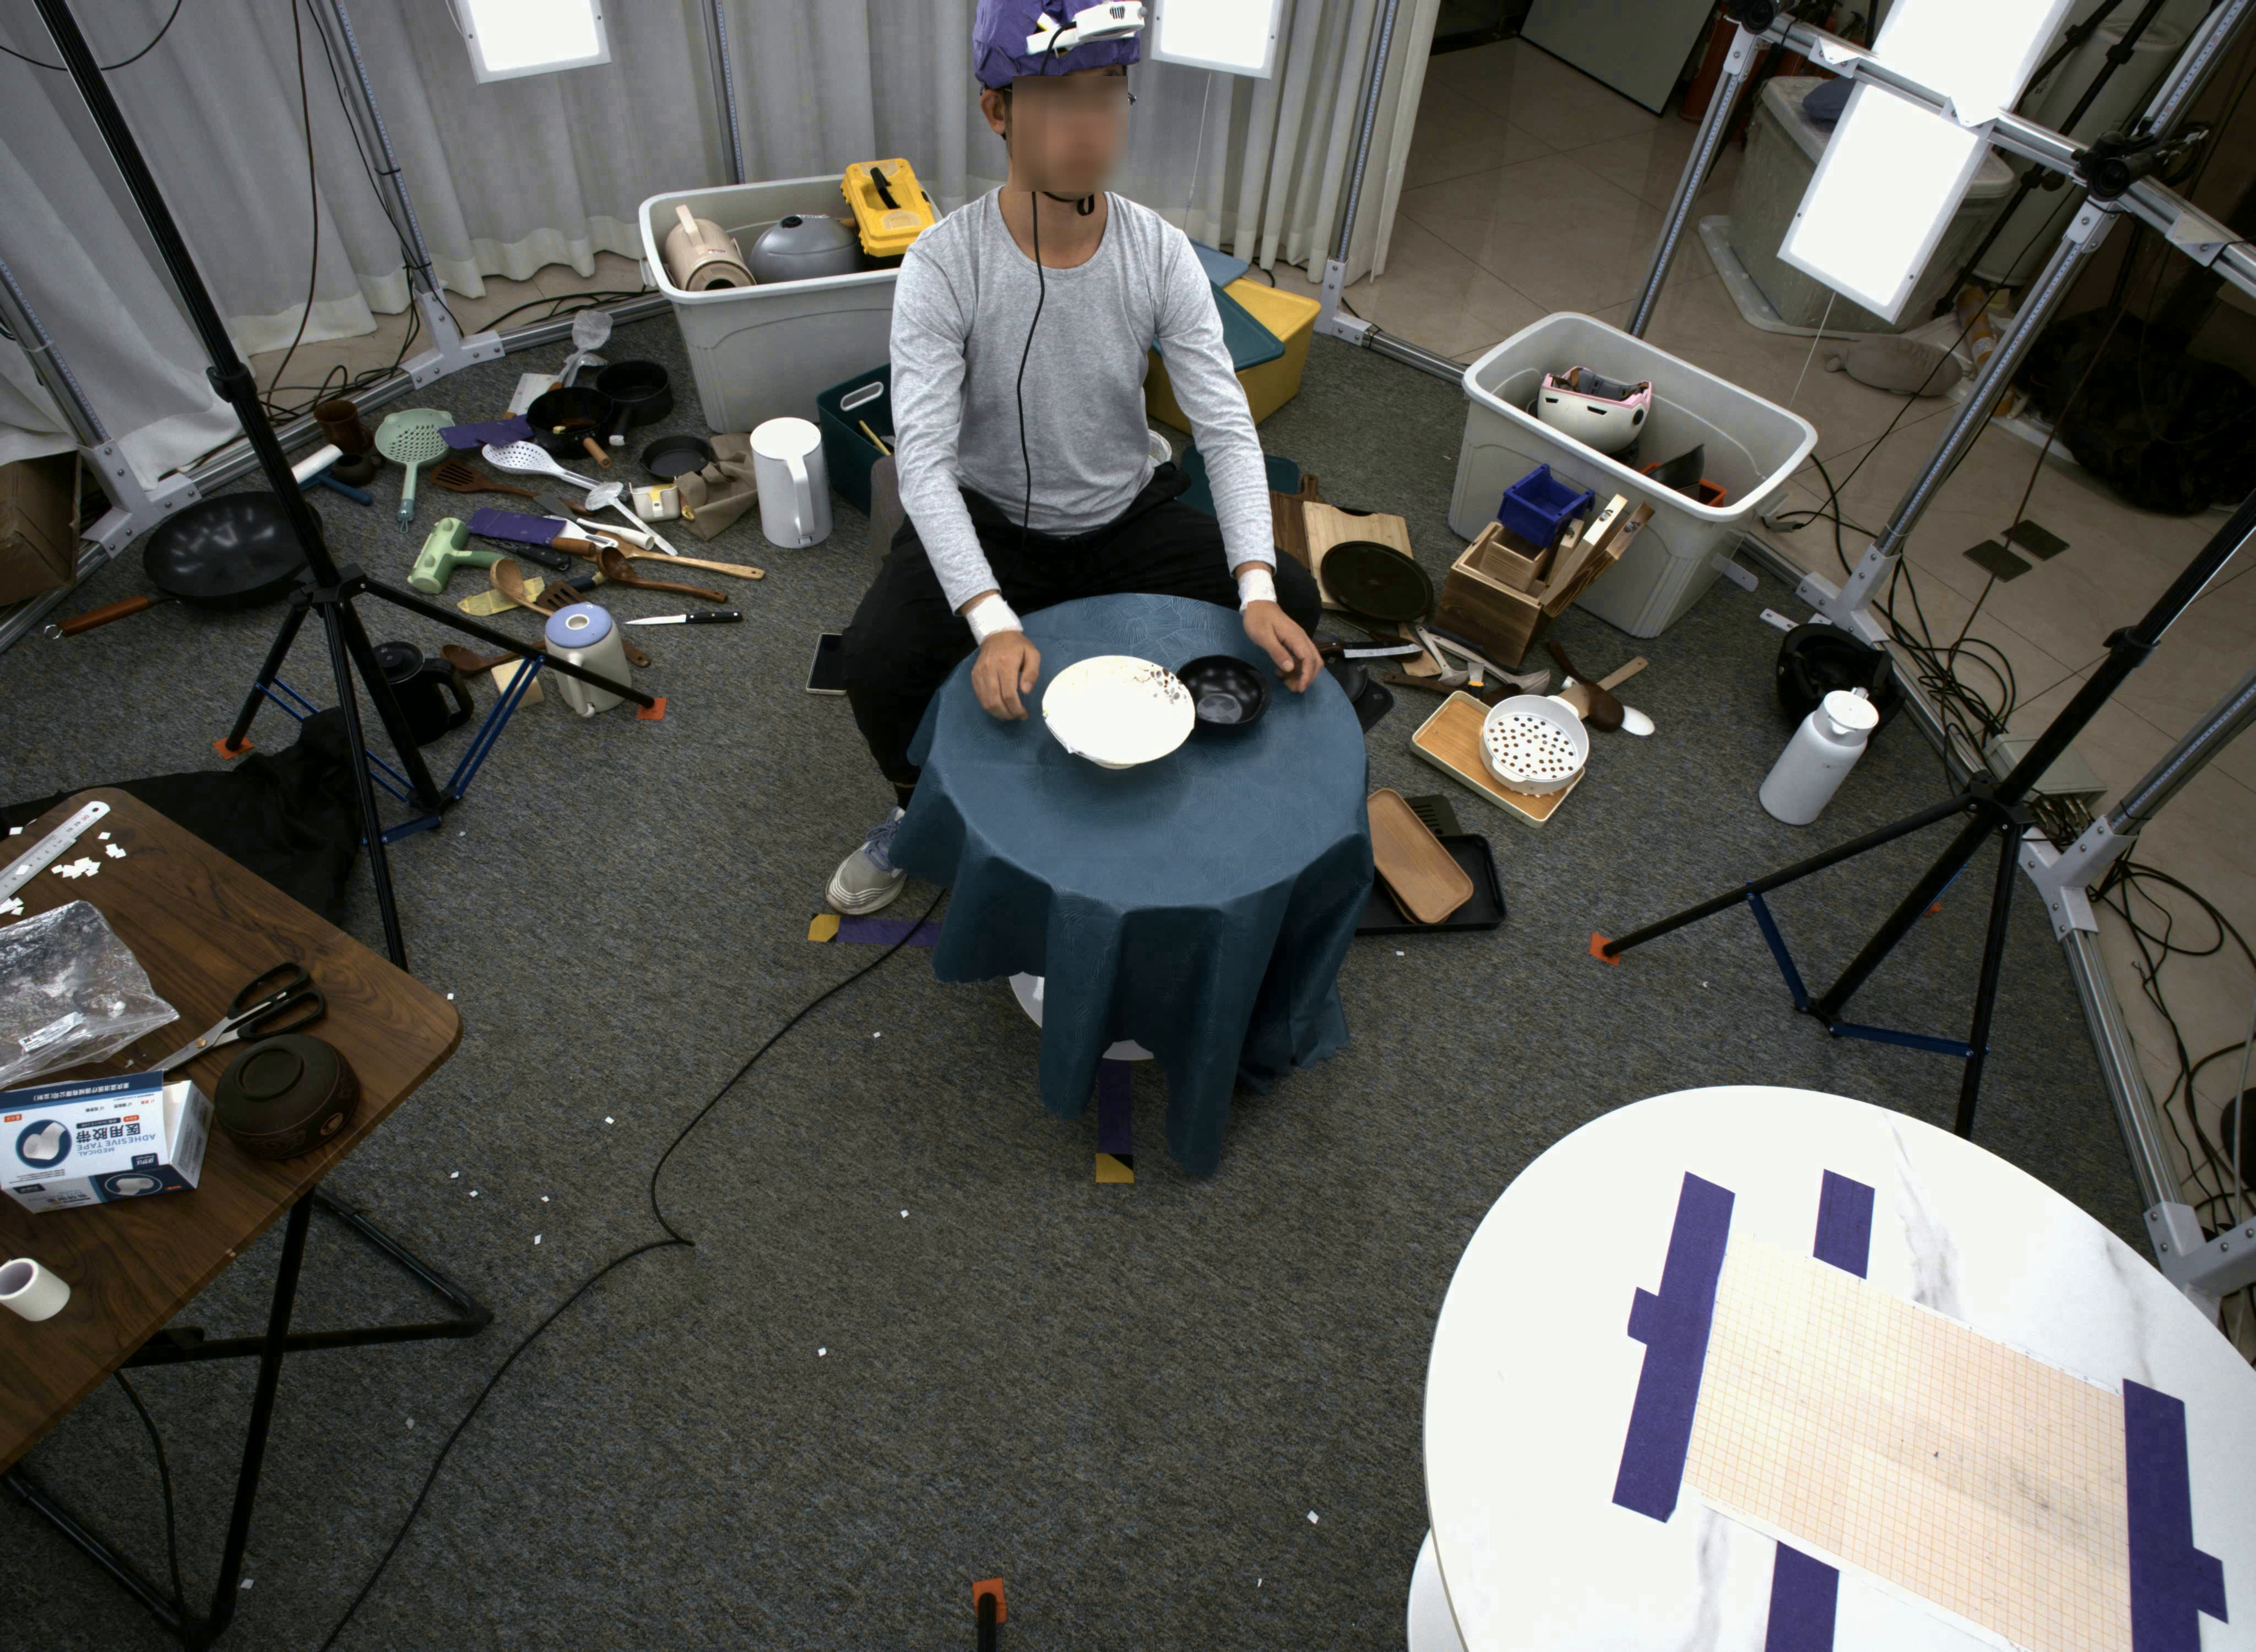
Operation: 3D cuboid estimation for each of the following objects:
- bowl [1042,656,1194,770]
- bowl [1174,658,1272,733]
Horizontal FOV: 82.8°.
[{"bbox_3d":[-0.015,-0.133,1.731,0.204,0.076,0.209,2,48,-3],"label":"bowl"},{"bbox_3d":[0.130,-0.174,1.800,0.140,0.048,0.143,2,44,-2],"label":"bowl"}]
